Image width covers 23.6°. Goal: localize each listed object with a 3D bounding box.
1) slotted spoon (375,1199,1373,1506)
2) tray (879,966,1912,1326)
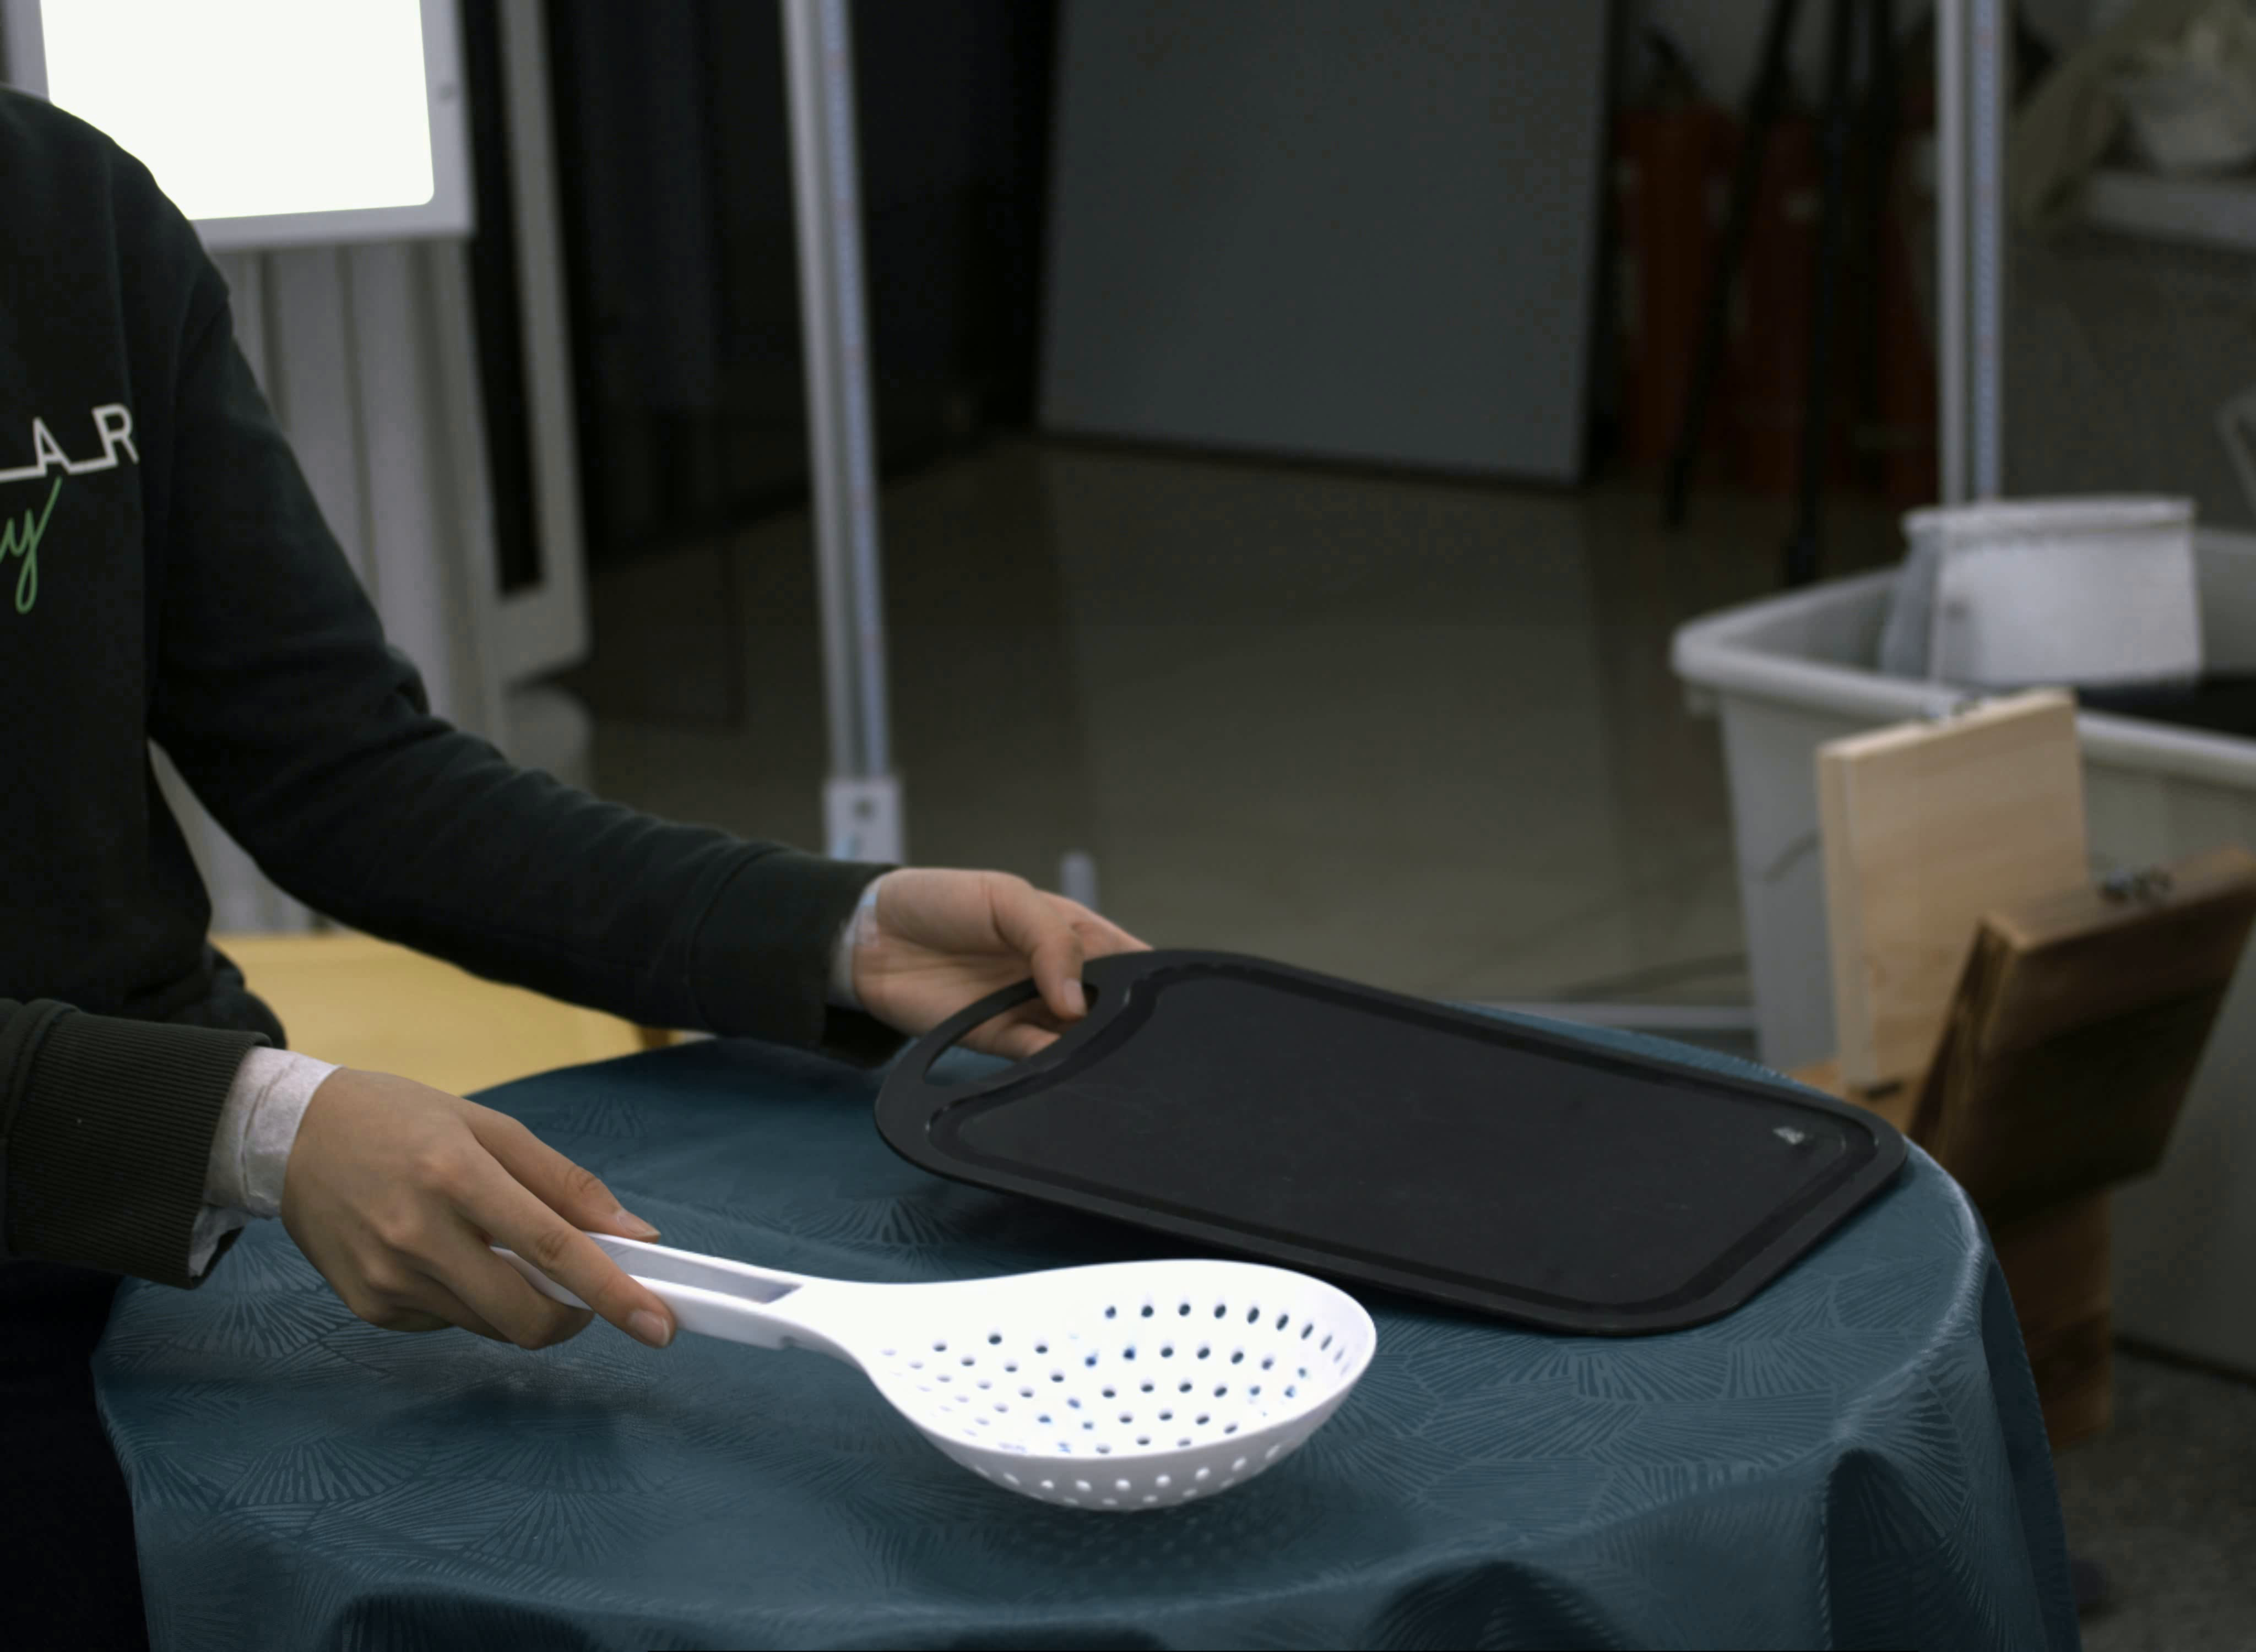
[{"bbox_3d":[-0.084,0.141,1.555,0.352,0.046,0.134,12,24,35],"label":"slotted spoon"},{"bbox_3d":[0.079,0.097,1.749,0.327,0.010,0.208,12,22,30],"label":"tray"}]
